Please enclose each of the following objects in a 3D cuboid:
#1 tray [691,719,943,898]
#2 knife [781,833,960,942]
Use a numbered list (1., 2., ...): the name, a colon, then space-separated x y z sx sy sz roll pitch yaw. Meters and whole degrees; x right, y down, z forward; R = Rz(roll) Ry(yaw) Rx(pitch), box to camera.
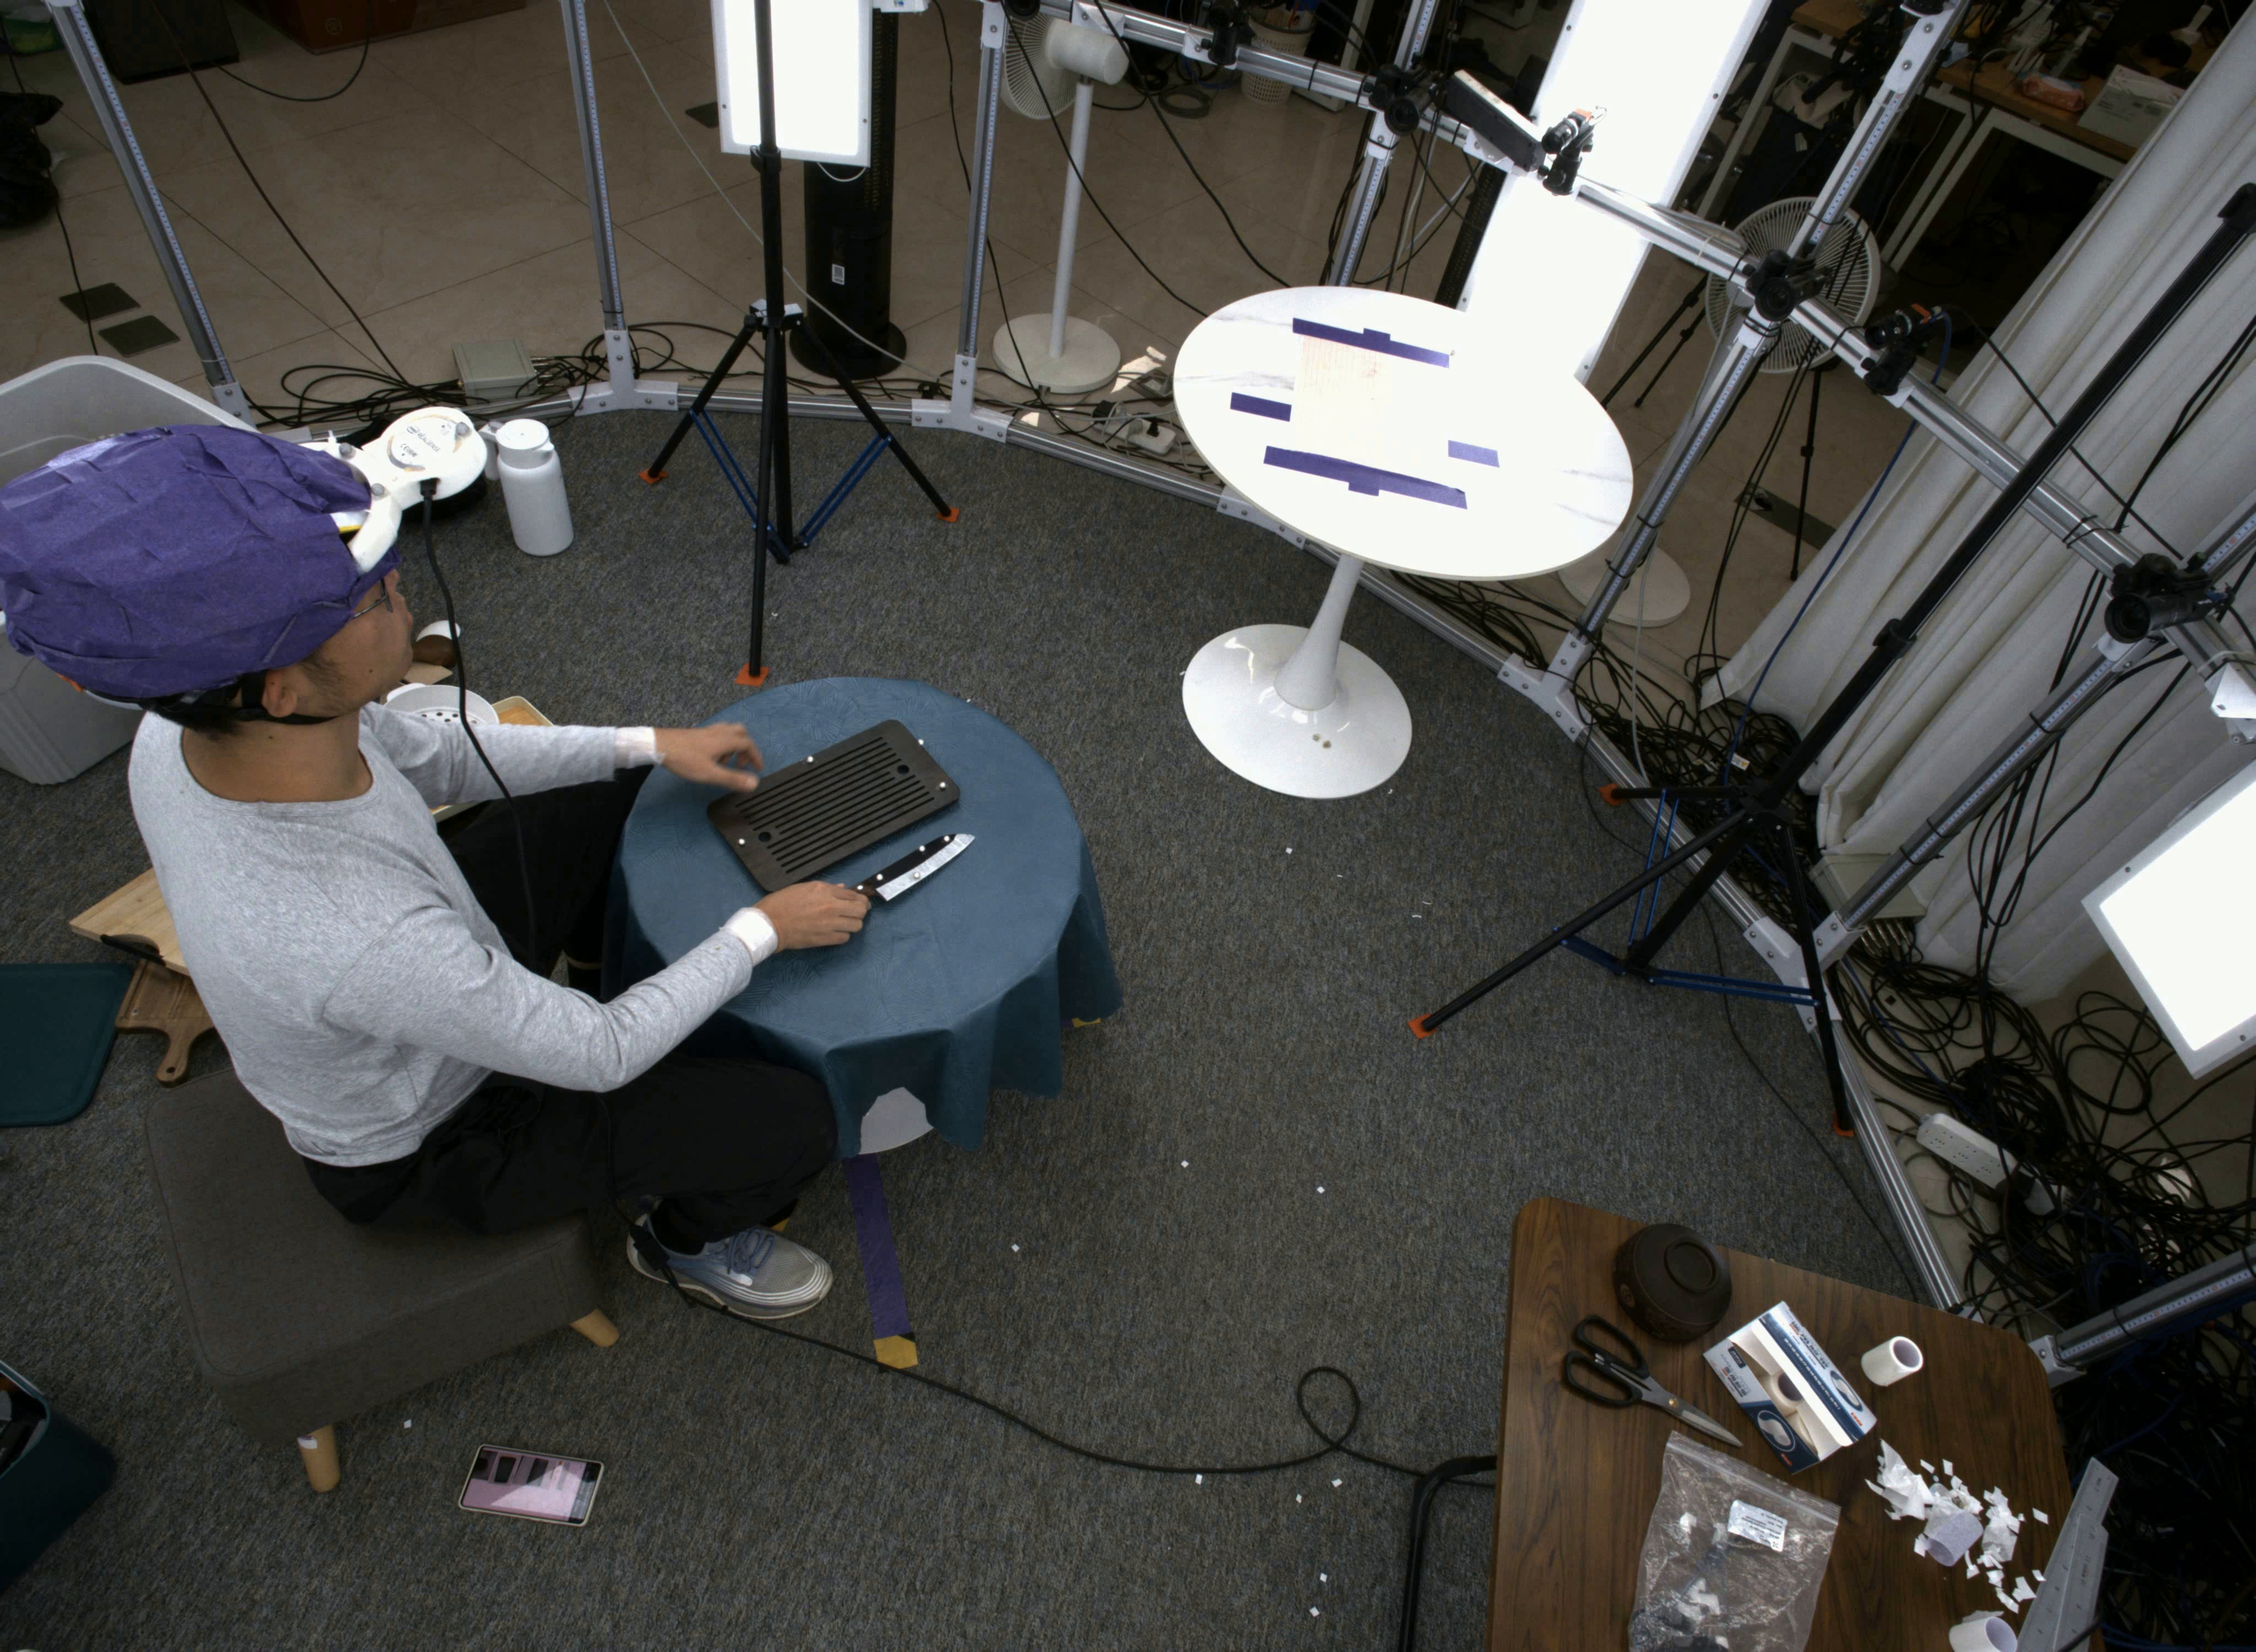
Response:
1. tray: -0.415 -0.029 1.747 0.307 0.019 0.166 -31 67 -30
2. knife: -0.328 0.072 1.685 0.049 0.020 0.290 42 49 18
